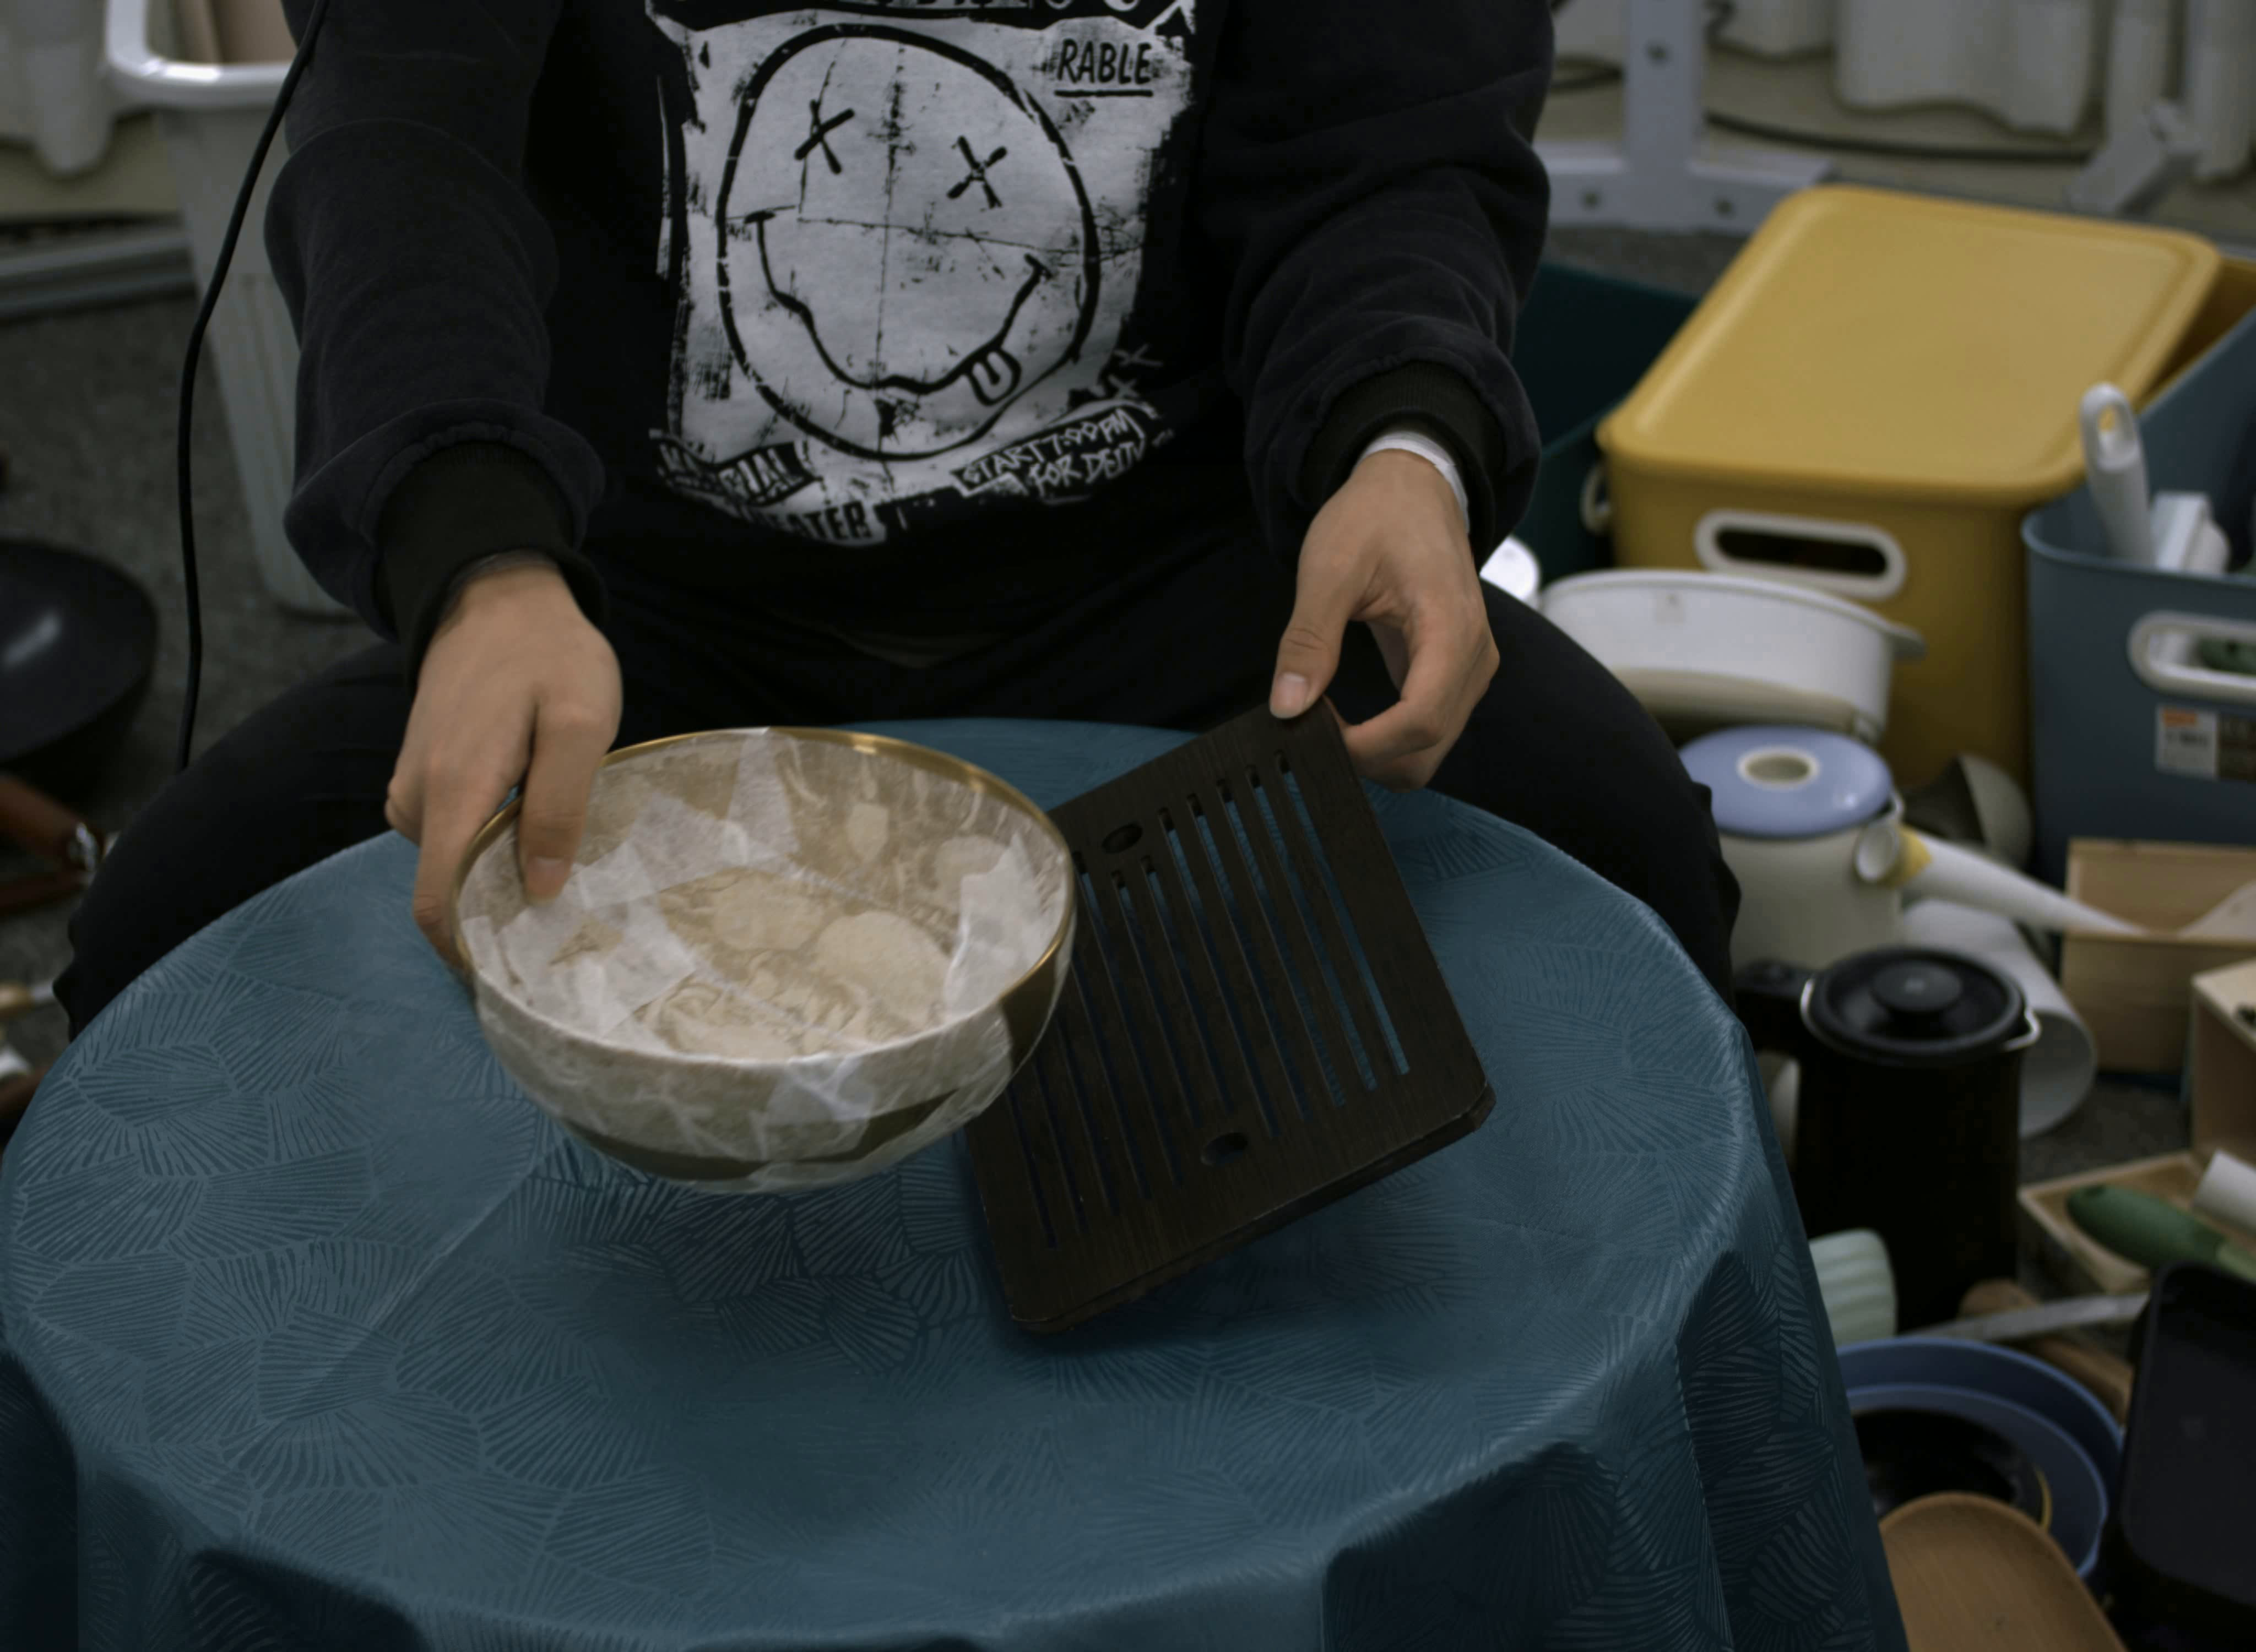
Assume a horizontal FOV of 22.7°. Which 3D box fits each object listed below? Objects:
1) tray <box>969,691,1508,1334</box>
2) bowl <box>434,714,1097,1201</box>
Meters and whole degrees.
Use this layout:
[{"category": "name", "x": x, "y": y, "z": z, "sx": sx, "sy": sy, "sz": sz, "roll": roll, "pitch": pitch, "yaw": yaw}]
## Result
[{"category": "tray", "x": 0.023, "y": 0.059, "z": 1.898, "sx": 0.169, "sy": 0.018, "sz": 0.310, "roll": -26, "pitch": 28, "yaw": 4}, {"category": "bowl", "x": -0.115, "y": 0.056, "z": 1.808, "sx": 0.214, "sy": 0.093, "sz": 0.218, "roll": 0, "pitch": 31, "yaw": 0}]
